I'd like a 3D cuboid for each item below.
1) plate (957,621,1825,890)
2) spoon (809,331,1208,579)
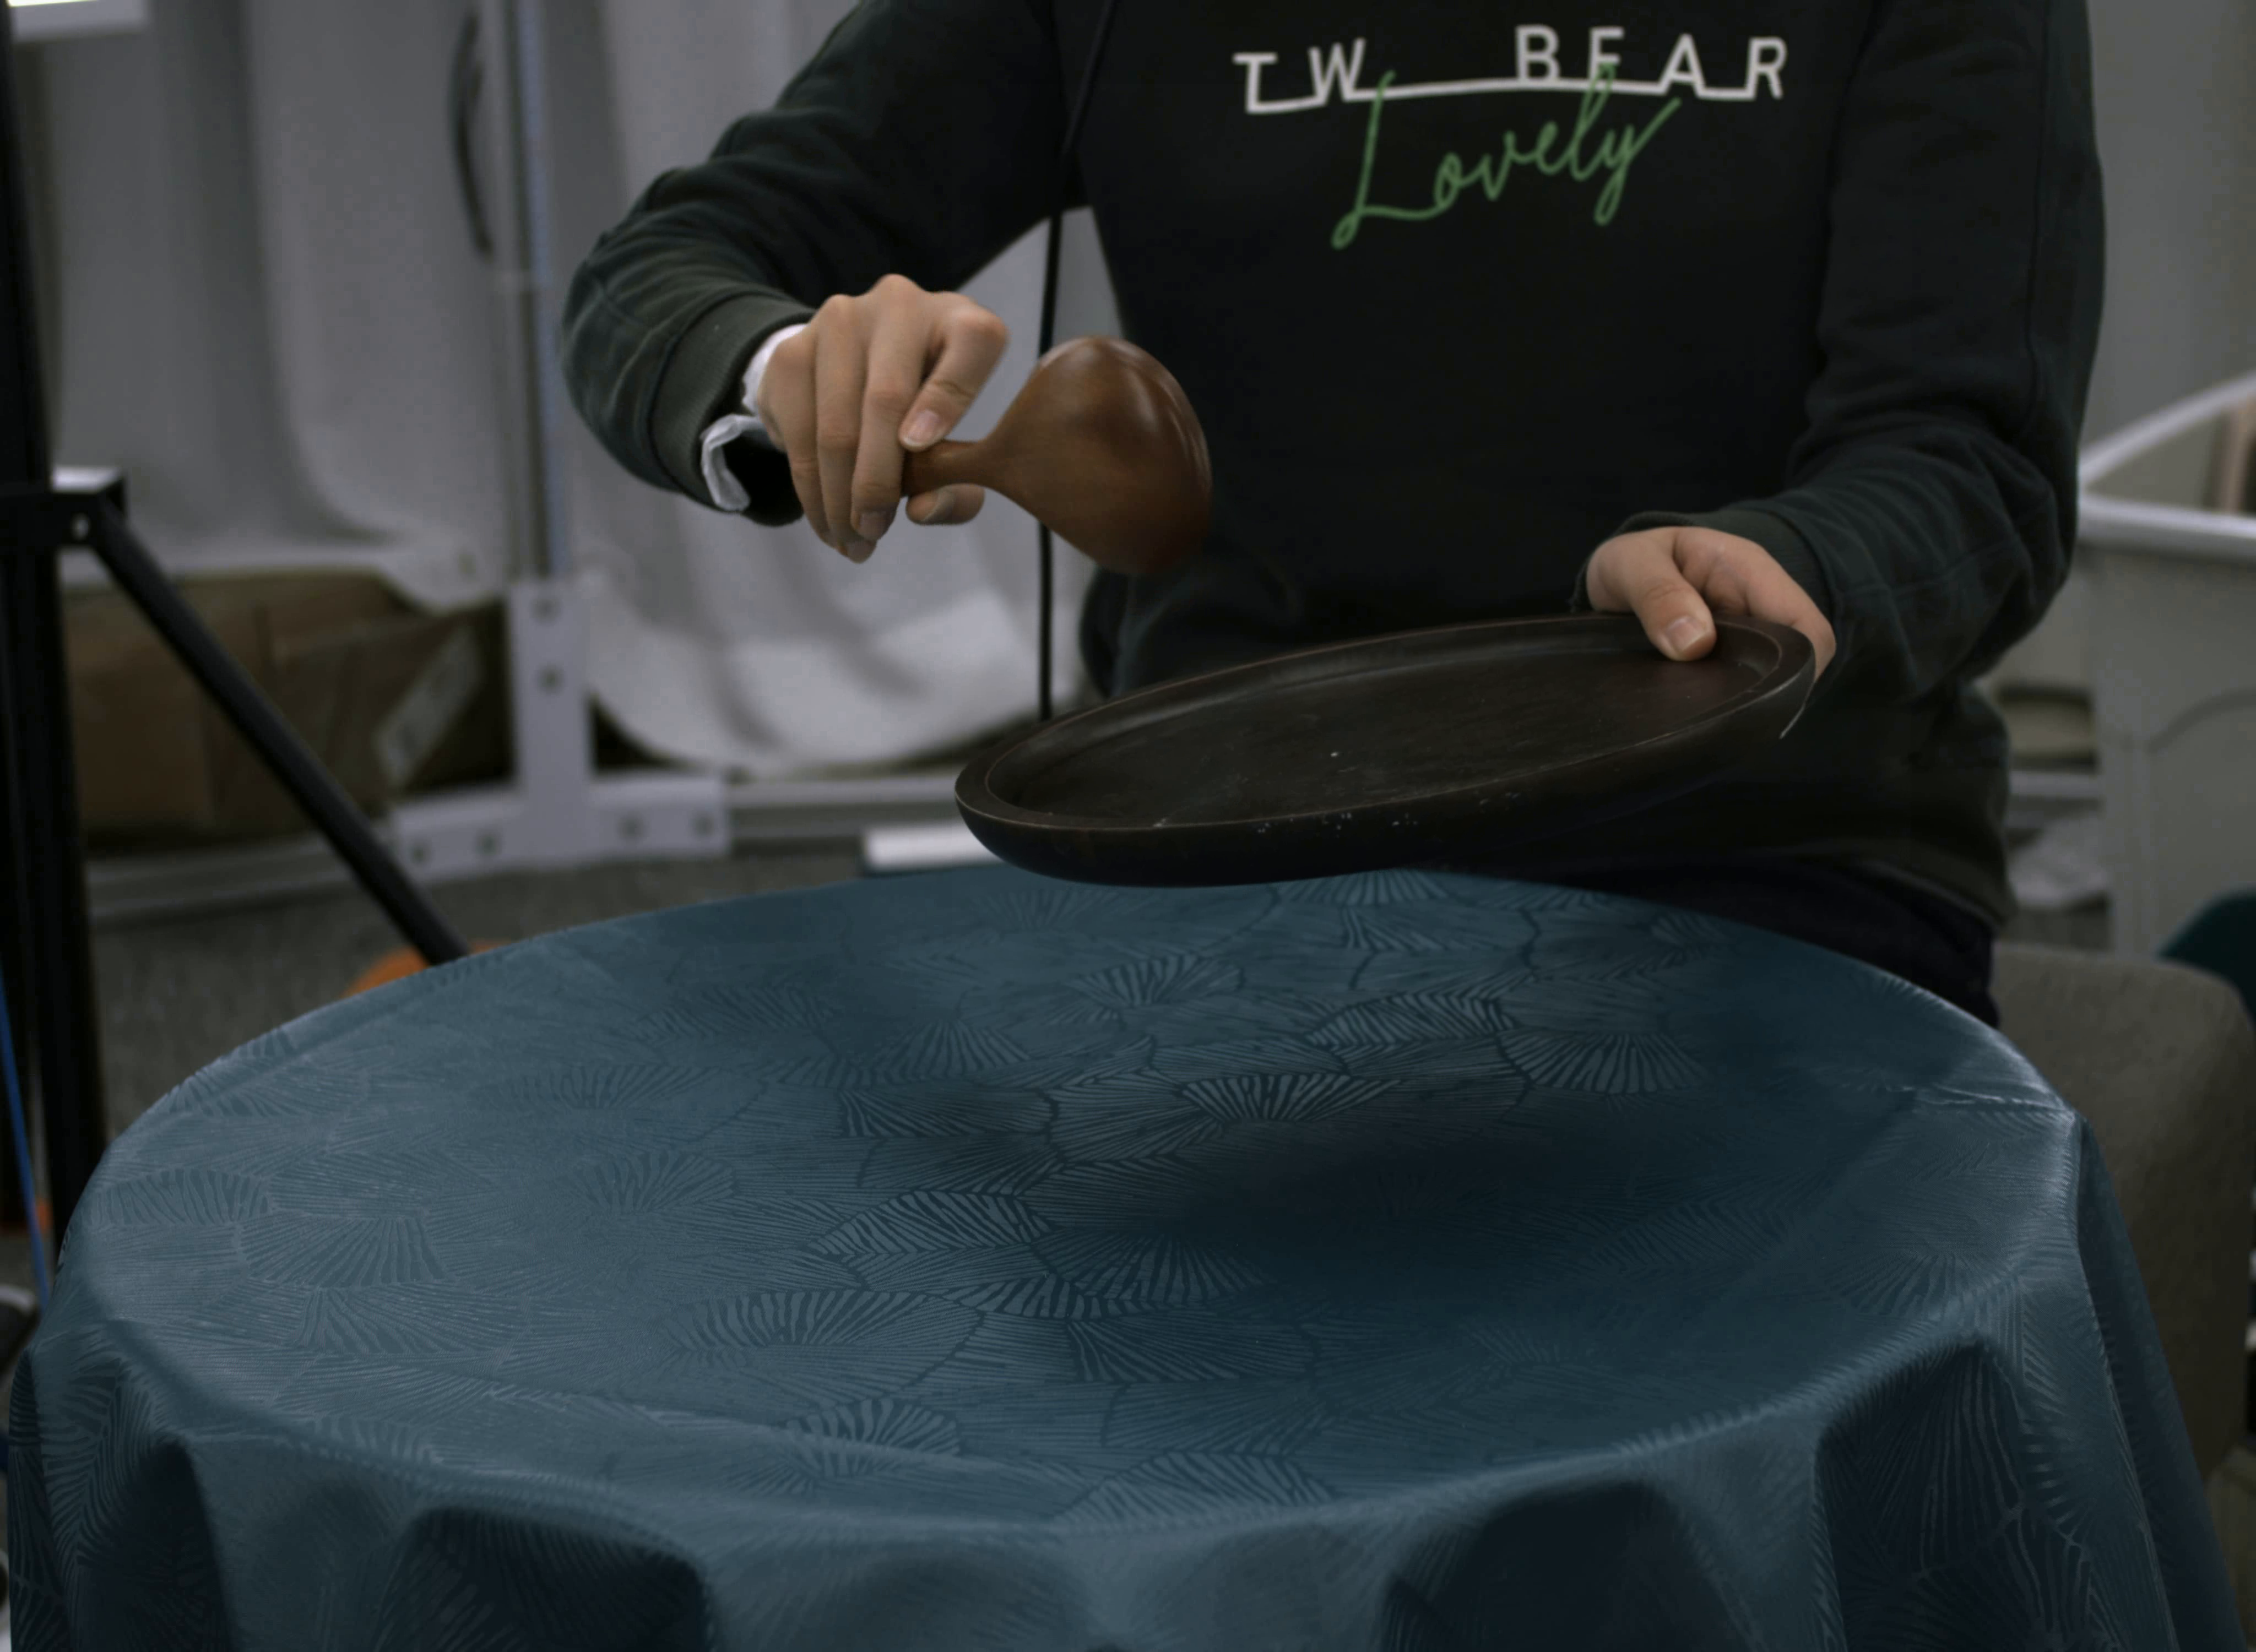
[{"bbox_3d":[0.076,-0.023,1.538,0.254,0.029,0.256,-10,13,1],"label":"plate"},{"bbox_3d":[-0.041,-0.112,1.617,0.017,0.075,0.220,-19,14,-29],"label":"spoon"}]
